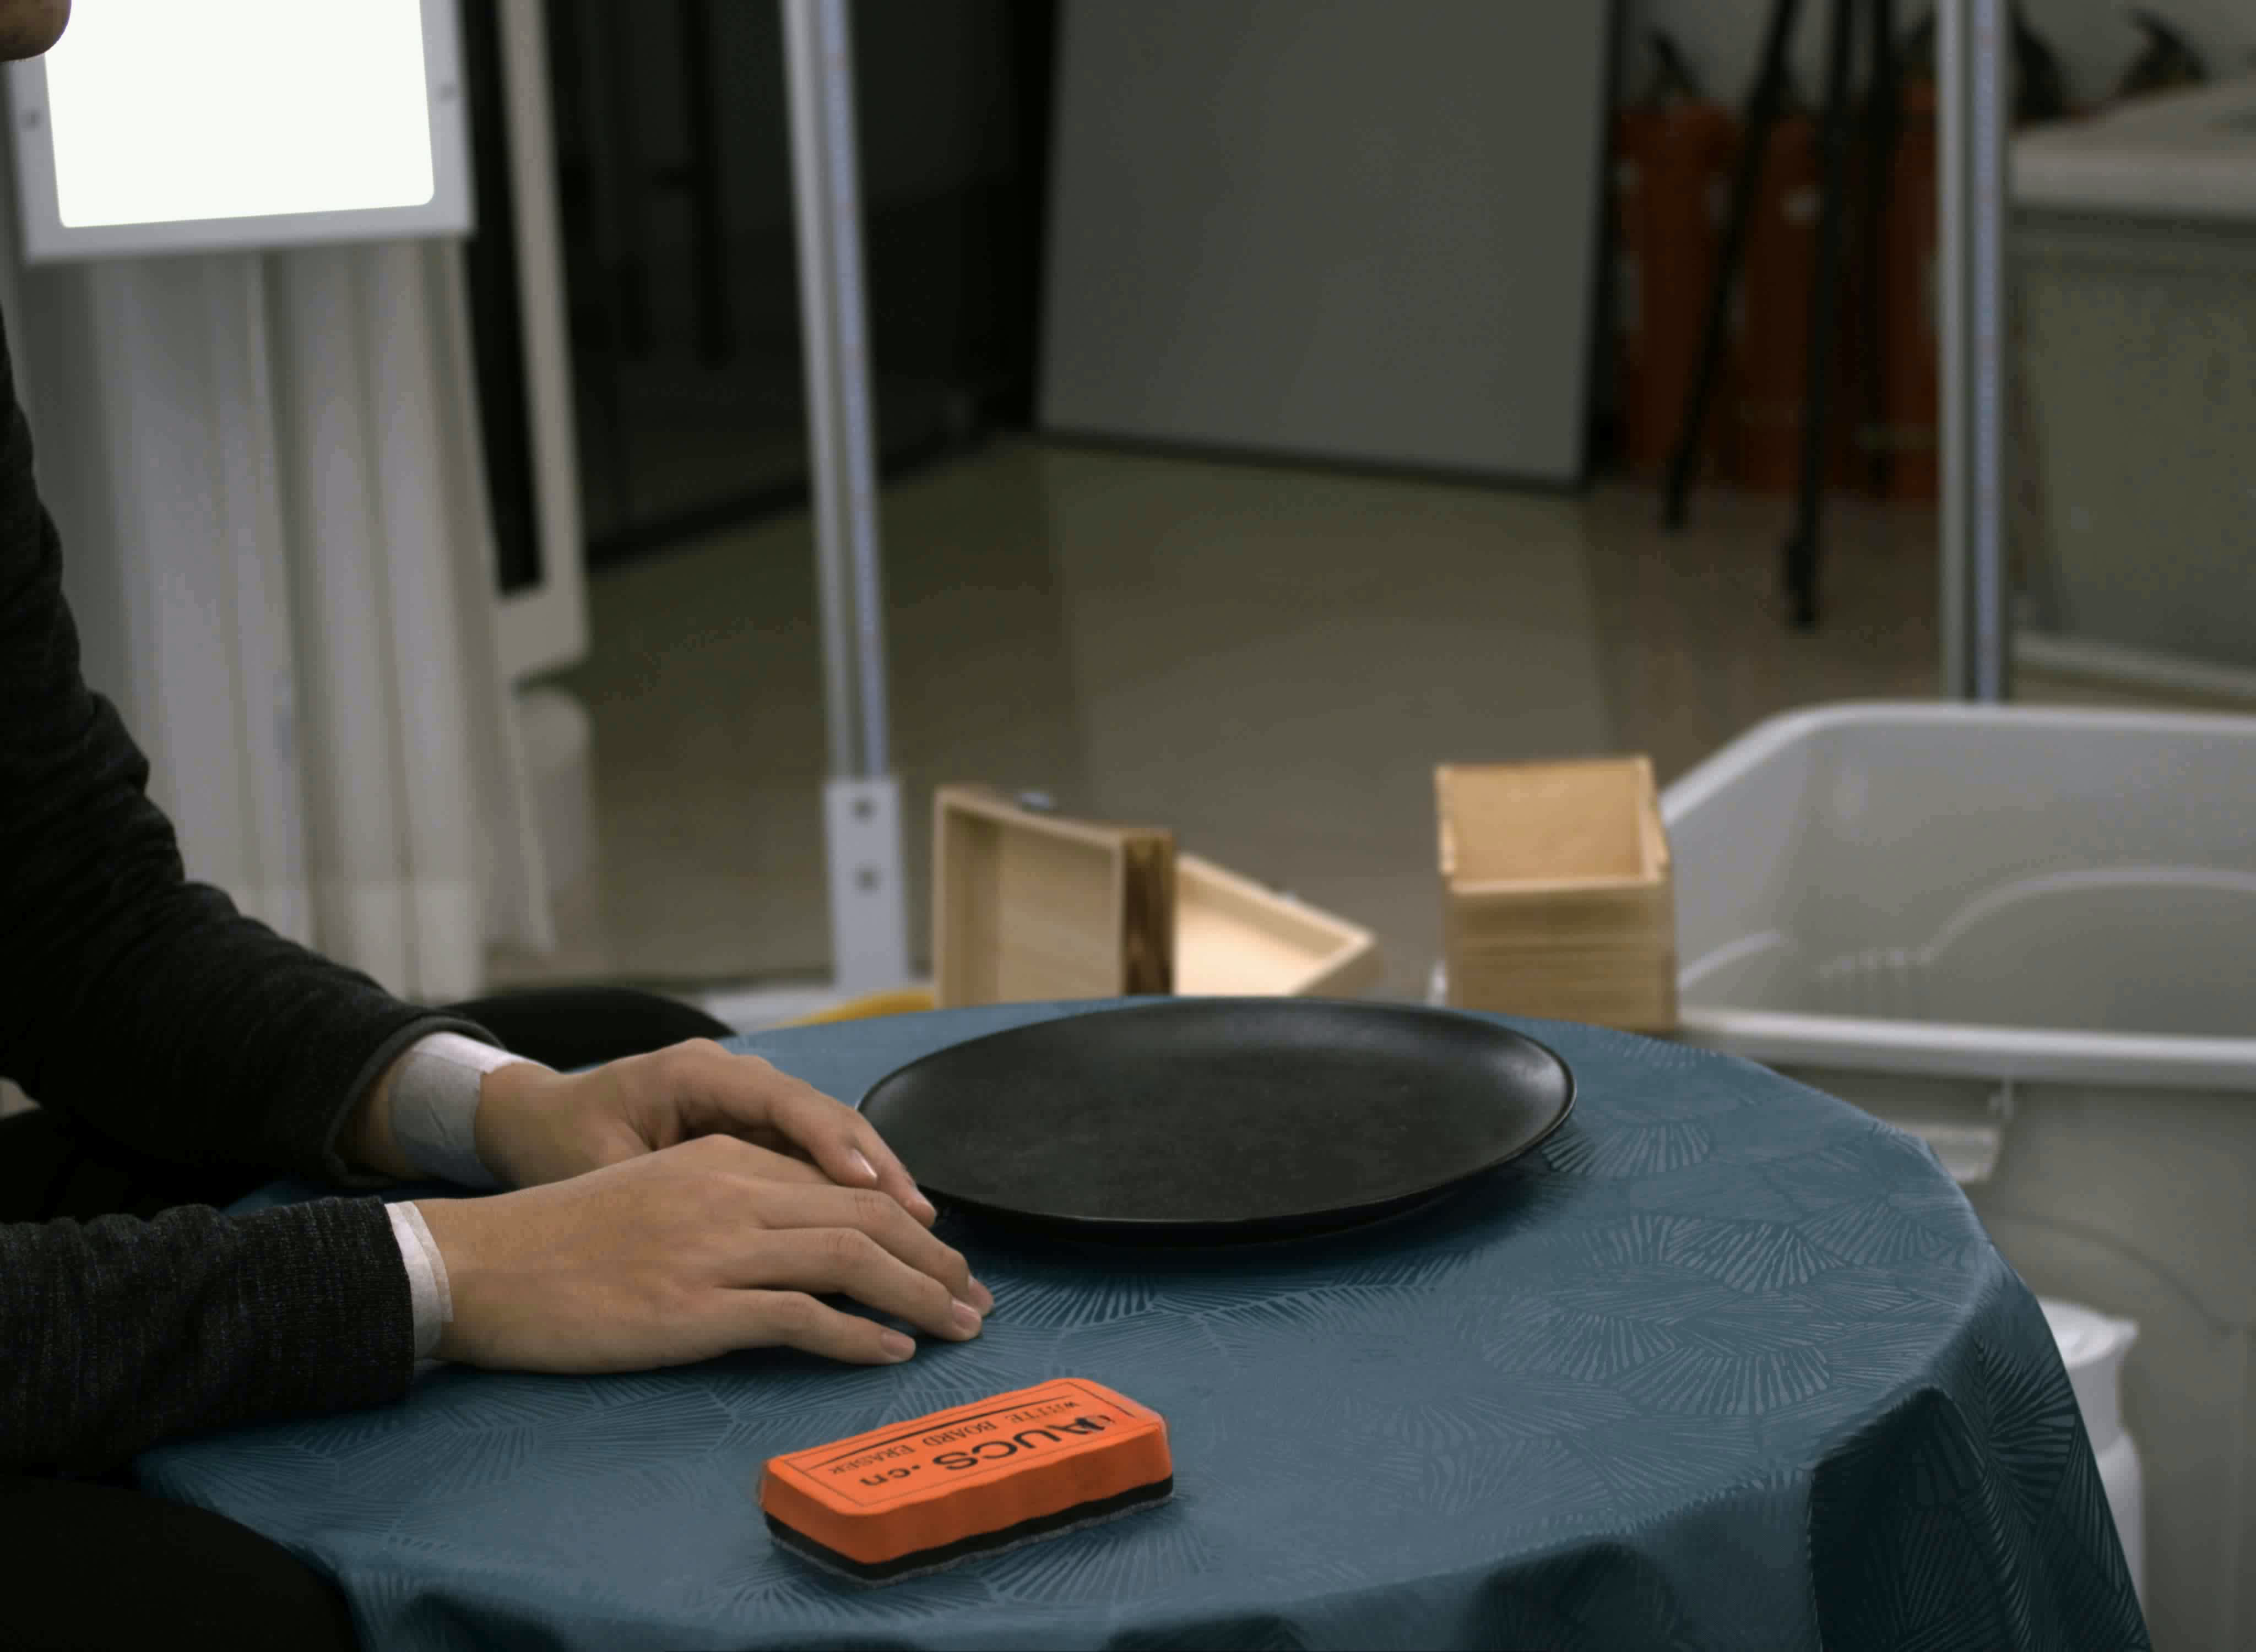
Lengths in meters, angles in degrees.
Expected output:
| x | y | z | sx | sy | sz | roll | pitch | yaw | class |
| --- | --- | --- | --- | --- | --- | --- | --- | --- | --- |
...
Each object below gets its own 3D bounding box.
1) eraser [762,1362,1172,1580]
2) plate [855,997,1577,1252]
| x | y | z | sx | sy | sz | roll | pitch | yaw | class |
| --- | --- | --- | --- | --- | --- | --- | --- | --- | --- |
| -0.044 | 0.177 | 1.490 | 0.106 | 0.023 | 0.059 | -15 | 15 | -29 | eraser |
| 0.030 | 0.102 | 1.792 | 0.241 | 0.024 | 0.245 | -4 | 14 | 0 | plate |
